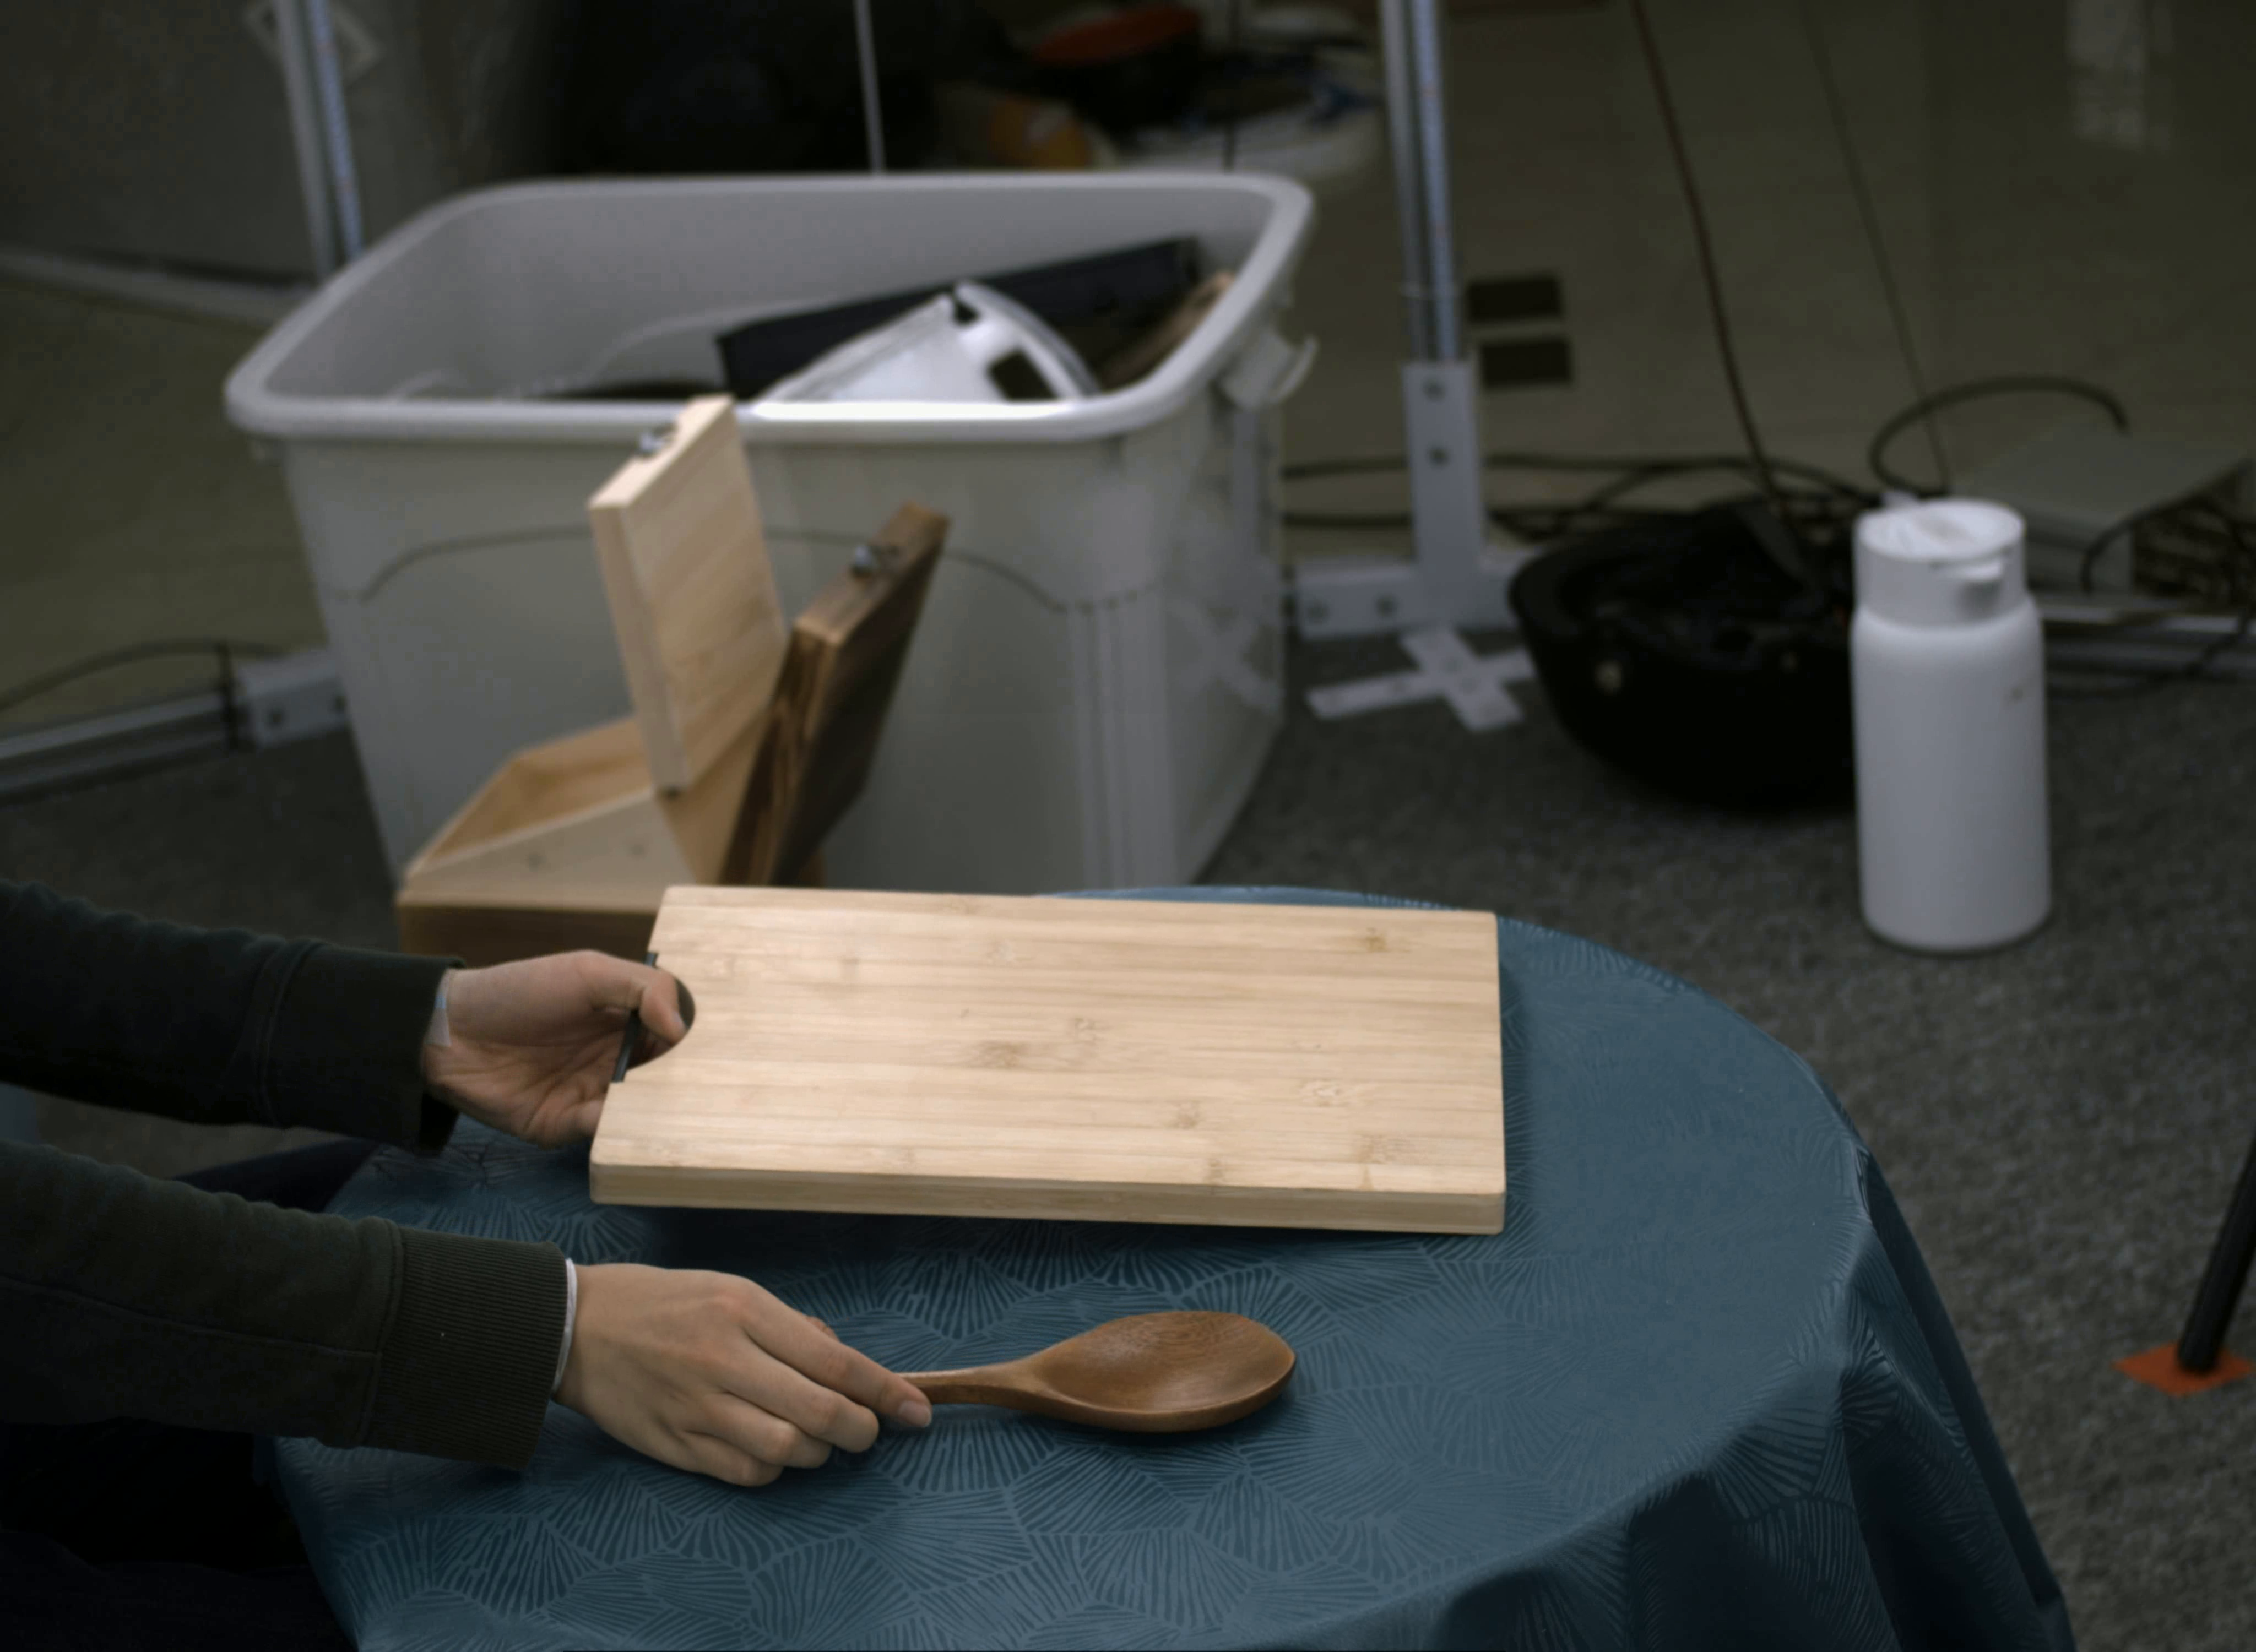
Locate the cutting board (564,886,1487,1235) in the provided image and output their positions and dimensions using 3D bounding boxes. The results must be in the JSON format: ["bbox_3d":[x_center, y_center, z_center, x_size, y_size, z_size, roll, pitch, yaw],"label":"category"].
[{"bbox_3d":[-0.032,0.088,2.201,0.348,0.024,0.247,2,25,1],"label":"cutting board"}]

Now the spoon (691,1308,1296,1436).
[{"bbox_3d":[-0.048,0.198,2.012,0.215,0.017,0.074,-2,27,3],"label":"spoon"}]
